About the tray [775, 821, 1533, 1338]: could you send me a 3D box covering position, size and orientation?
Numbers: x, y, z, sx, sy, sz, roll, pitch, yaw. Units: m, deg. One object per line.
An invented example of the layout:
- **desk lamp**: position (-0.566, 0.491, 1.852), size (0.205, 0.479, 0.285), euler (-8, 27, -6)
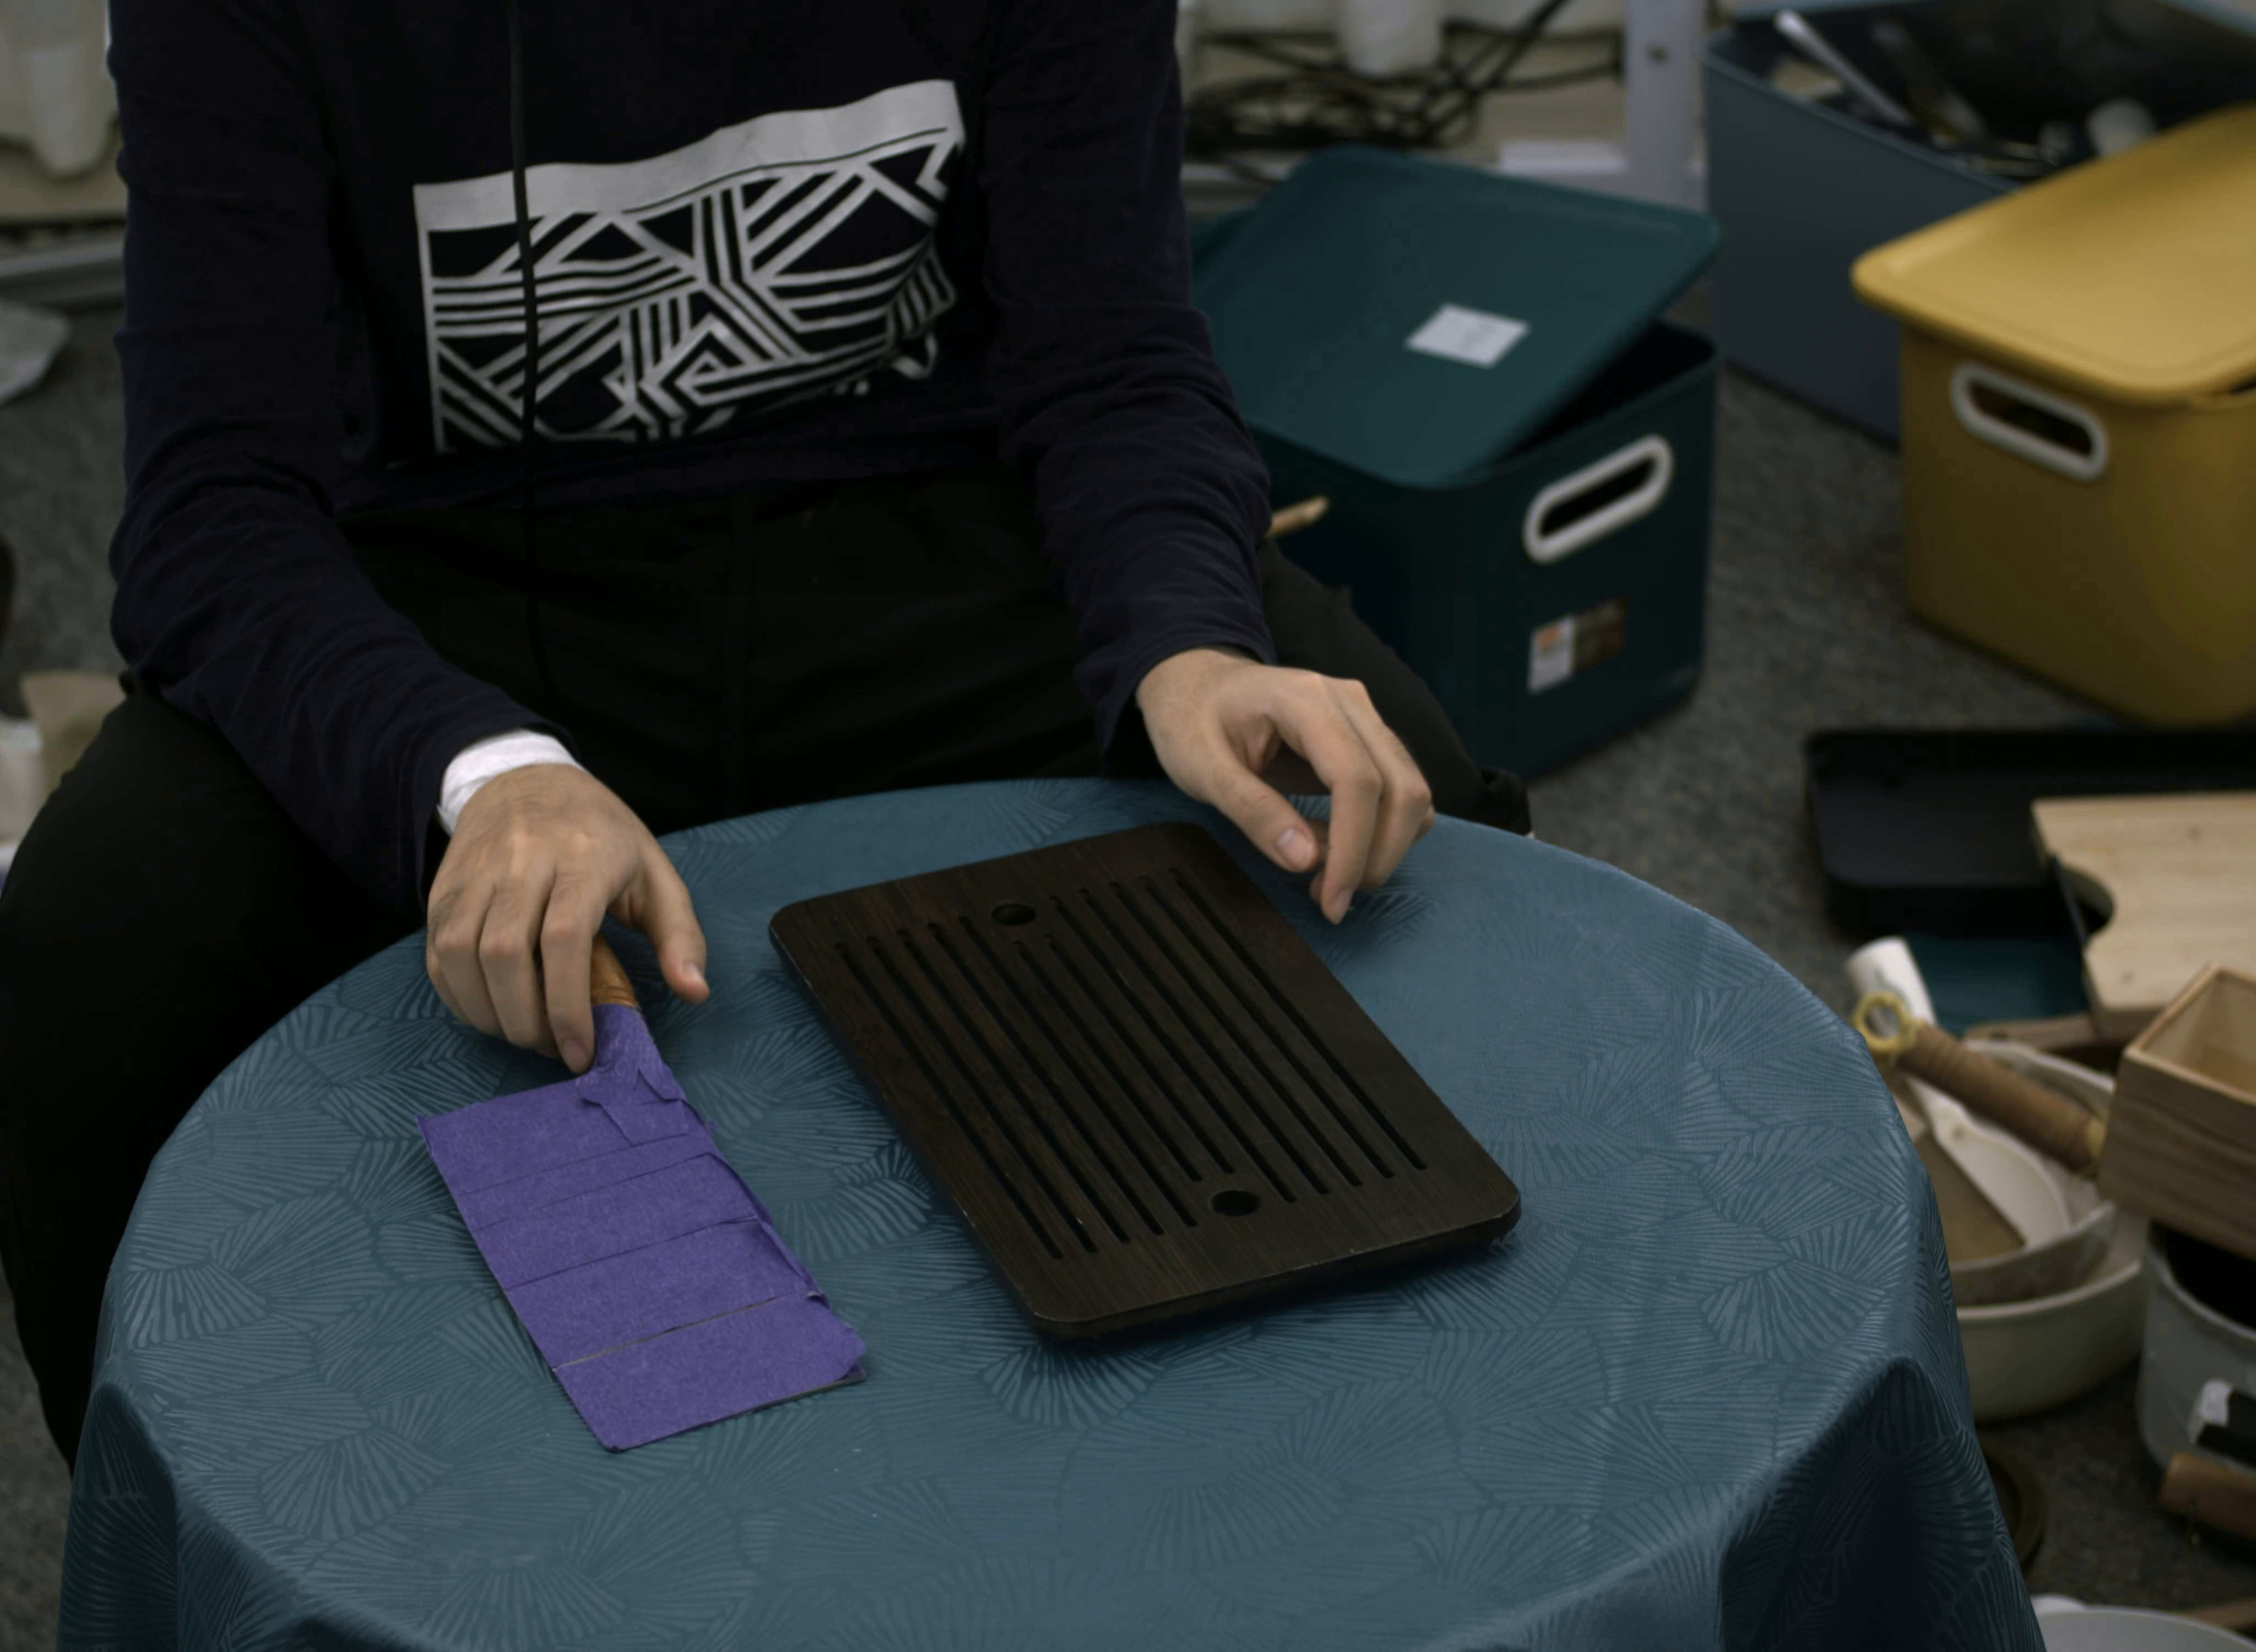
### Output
- **tray**: position (0.003, 0.083, 1.916), size (0.170, 0.018, 0.308), euler (-12, 28, -17)

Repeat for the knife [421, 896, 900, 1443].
- **knife**: position (-0.180, 0.110, 1.872), size (0.104, 0.032, 0.317), euler (-13, 30, -20)
